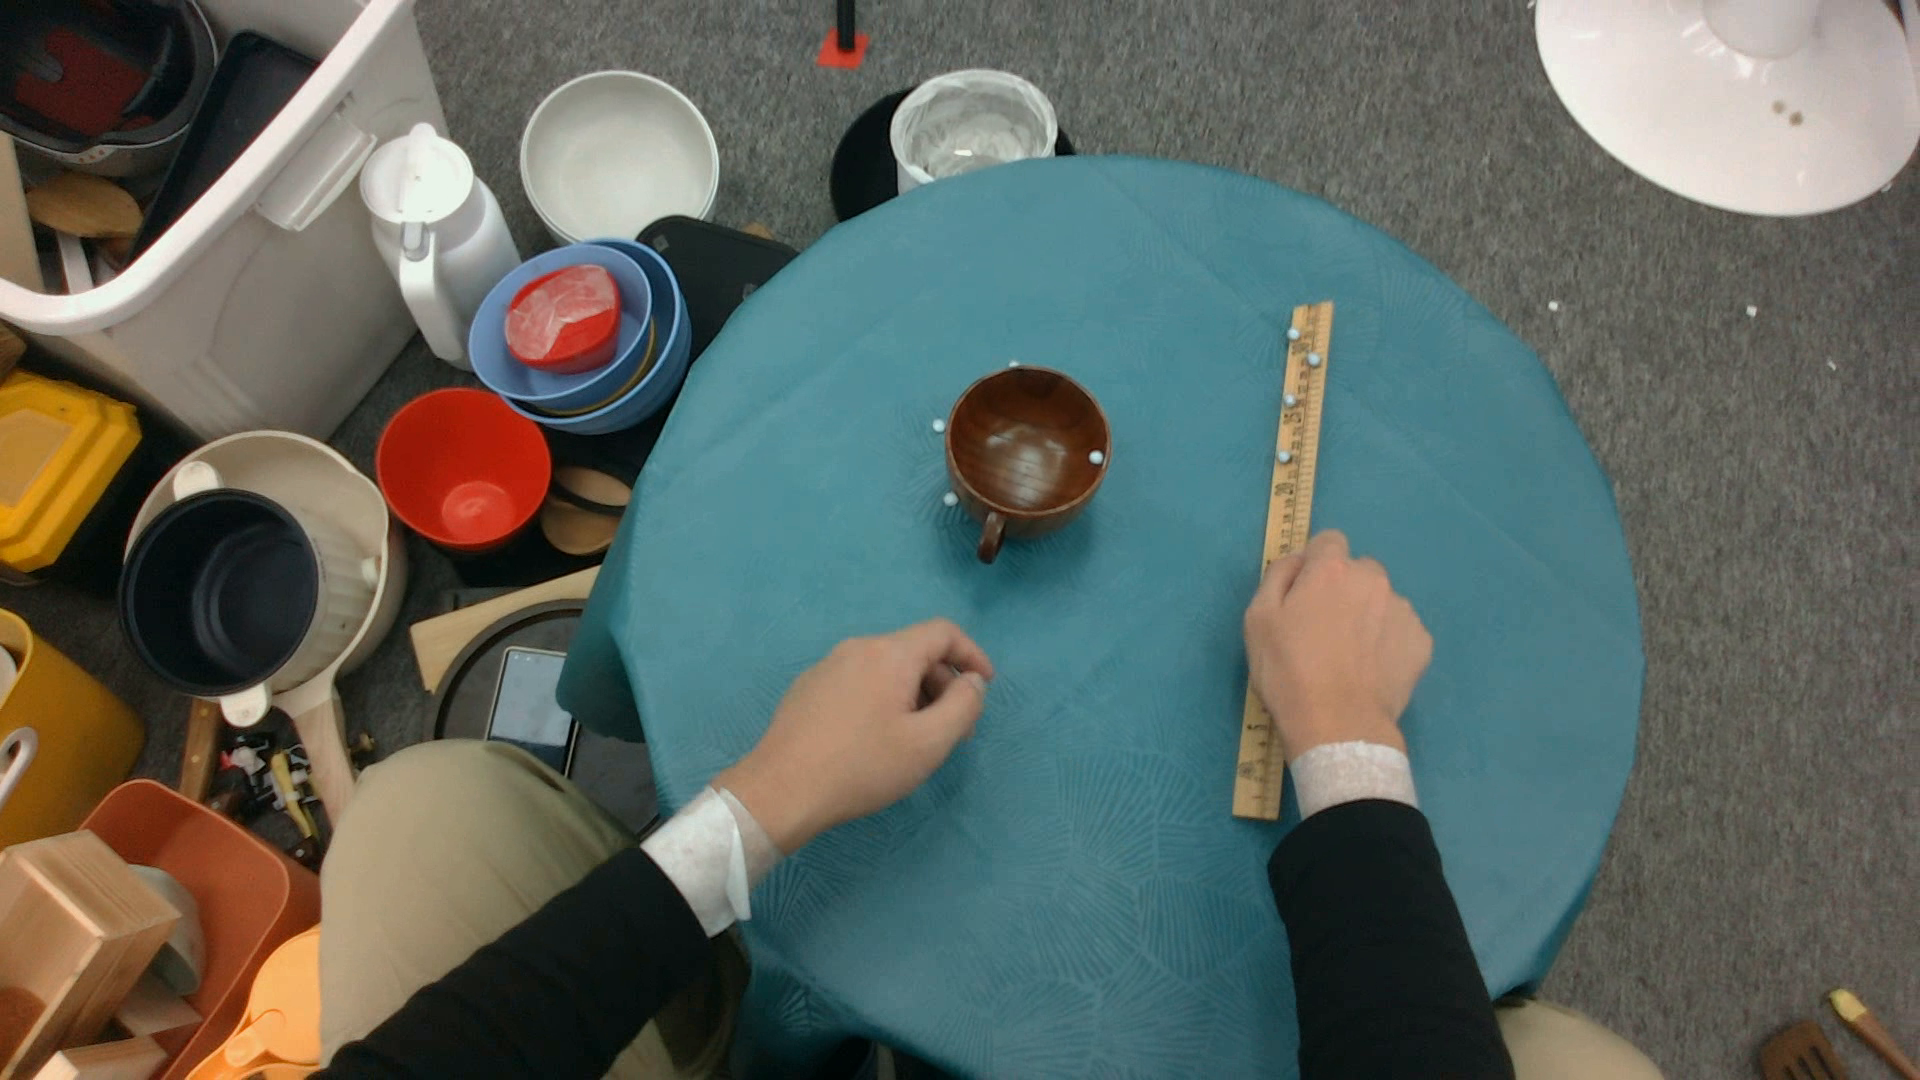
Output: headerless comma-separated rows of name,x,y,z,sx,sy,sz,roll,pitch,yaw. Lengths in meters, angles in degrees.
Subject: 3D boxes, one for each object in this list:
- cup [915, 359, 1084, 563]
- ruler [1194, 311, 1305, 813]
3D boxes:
cup,0.016,-0.038,0.798,0.096,0.067,0.120,20,67,2
ruler,0.175,-0.001,0.819,0.027,0.022,0.333,-1,62,29
